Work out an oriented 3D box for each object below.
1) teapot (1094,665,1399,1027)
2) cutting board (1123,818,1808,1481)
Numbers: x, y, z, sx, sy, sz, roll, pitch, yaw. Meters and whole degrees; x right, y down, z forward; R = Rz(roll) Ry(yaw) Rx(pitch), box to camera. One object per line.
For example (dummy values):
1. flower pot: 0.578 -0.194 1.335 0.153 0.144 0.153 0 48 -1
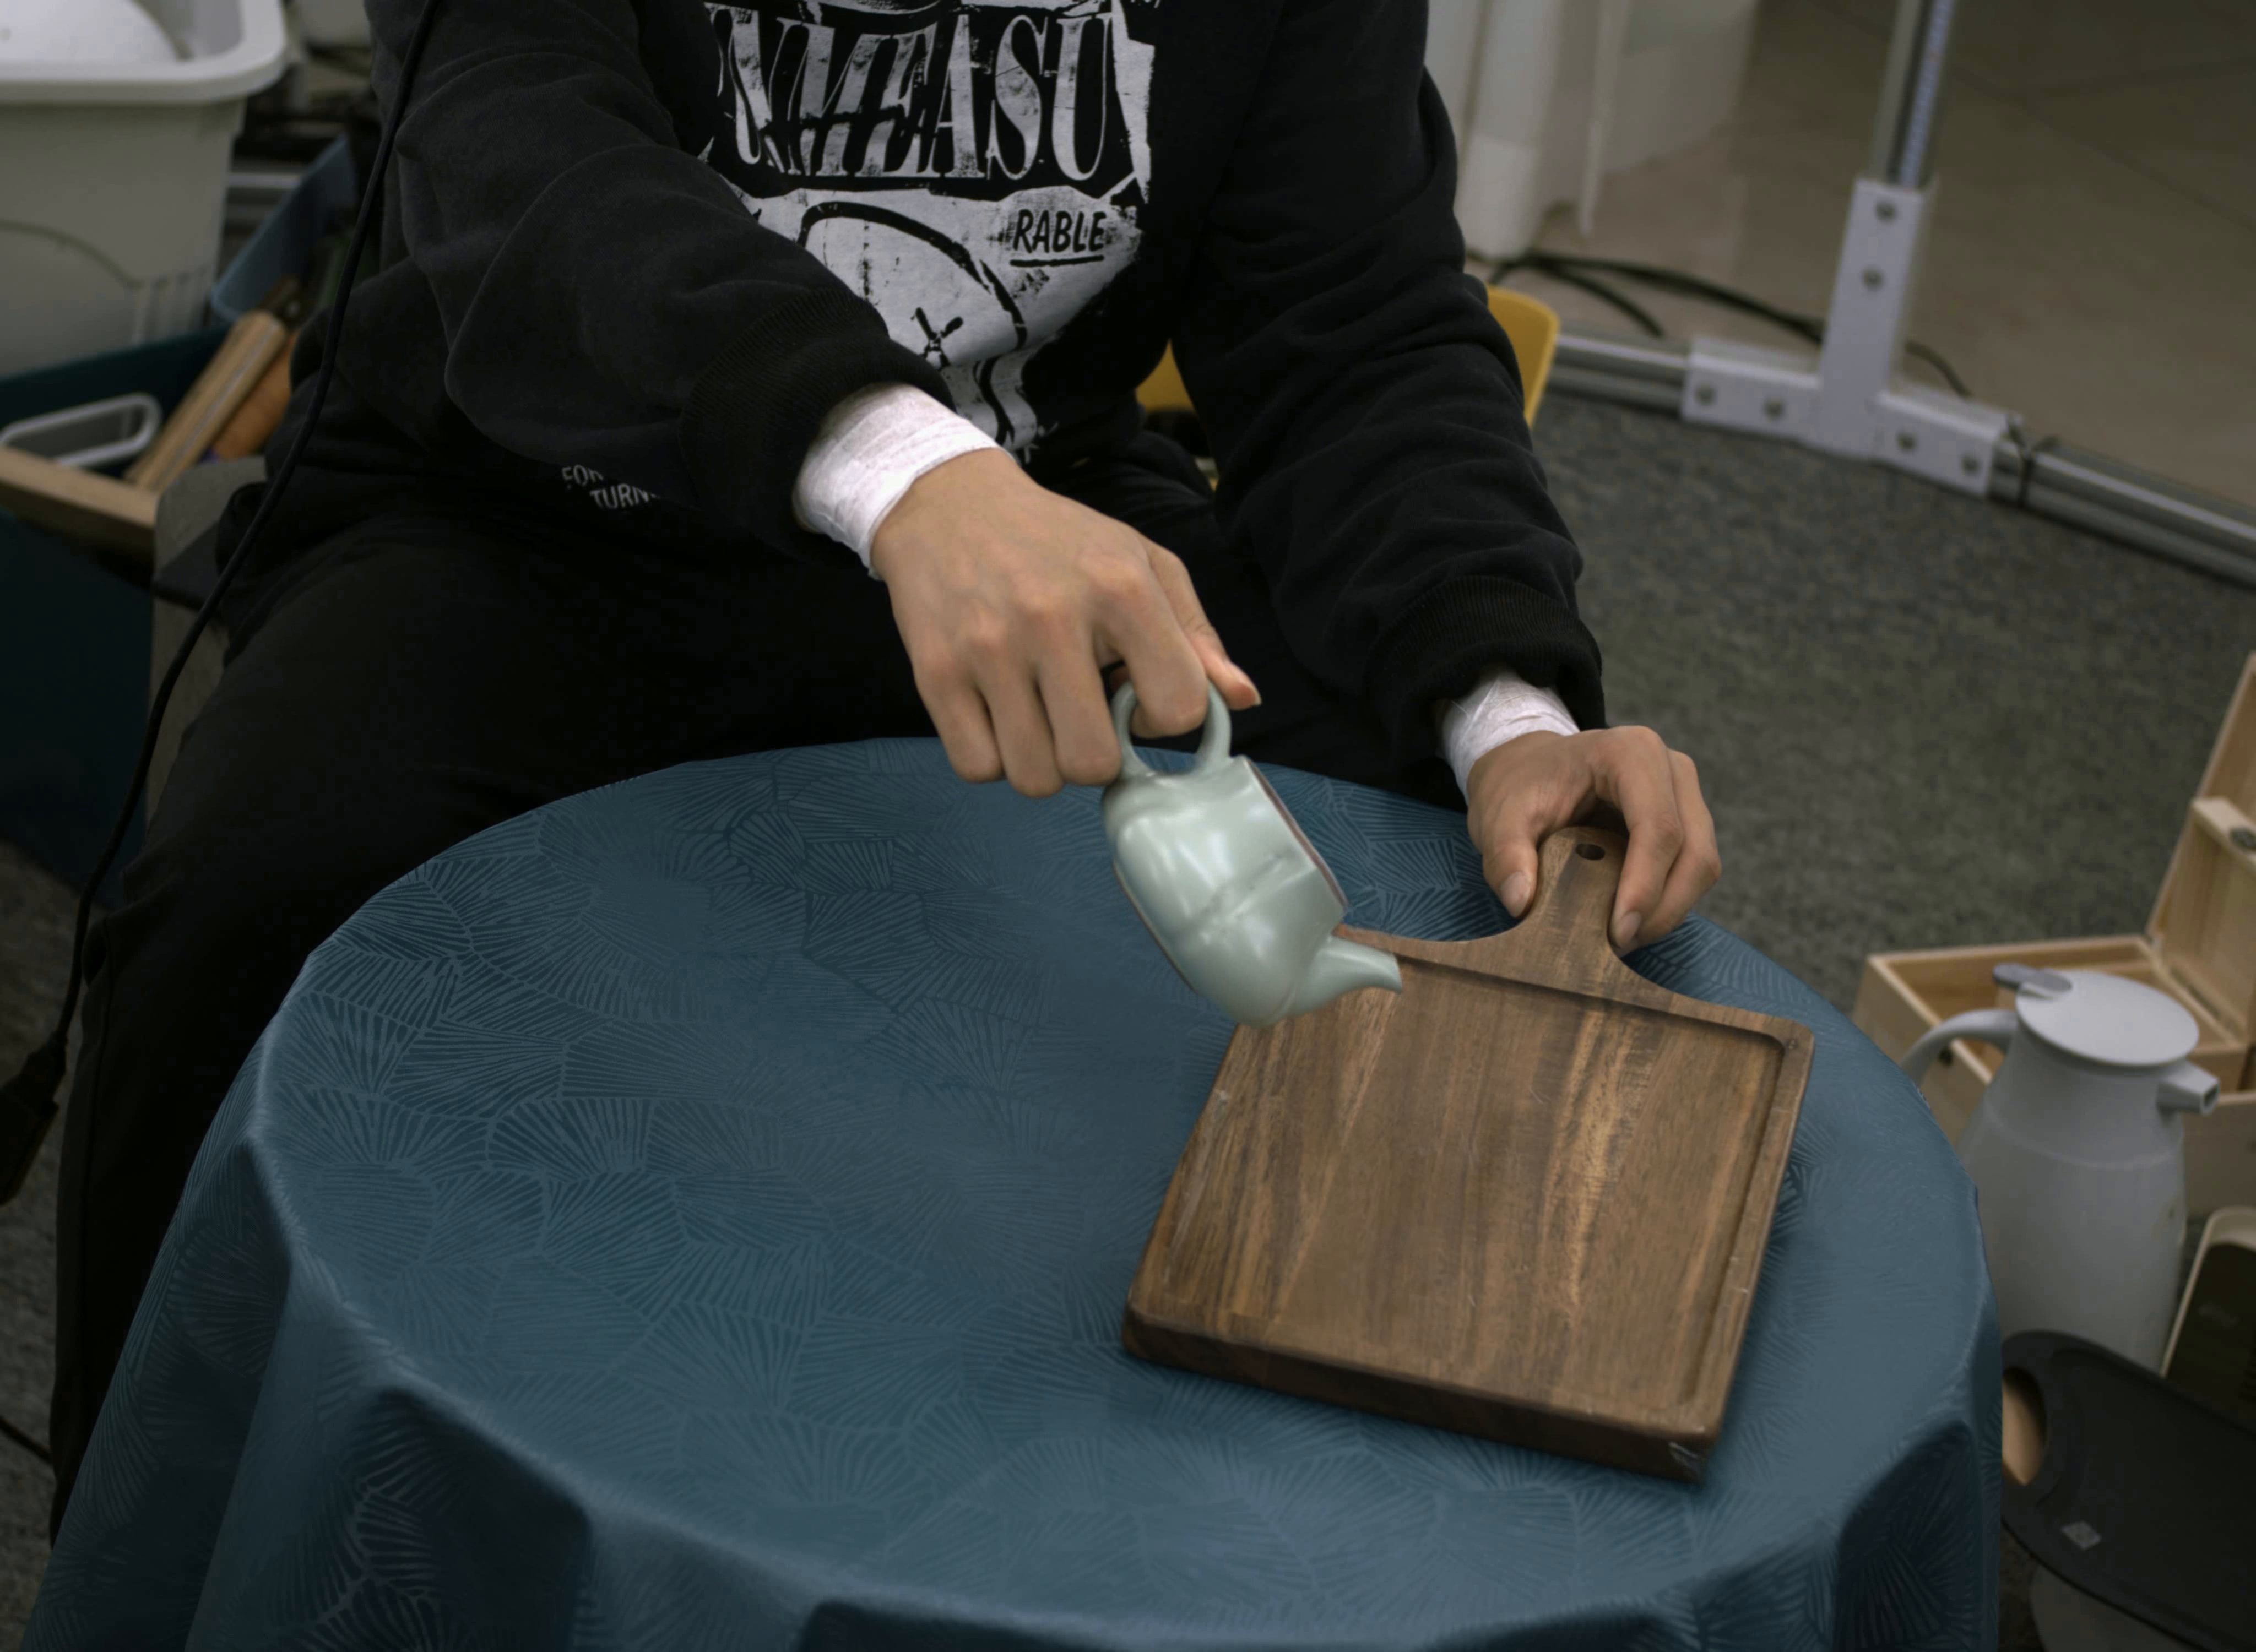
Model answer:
1. teapot: 0.029 0.013 1.733 0.061 0.136 0.096 -33 12 6
2. cutting board: 0.130 0.095 1.834 0.201 0.023 0.353 11 33 9
